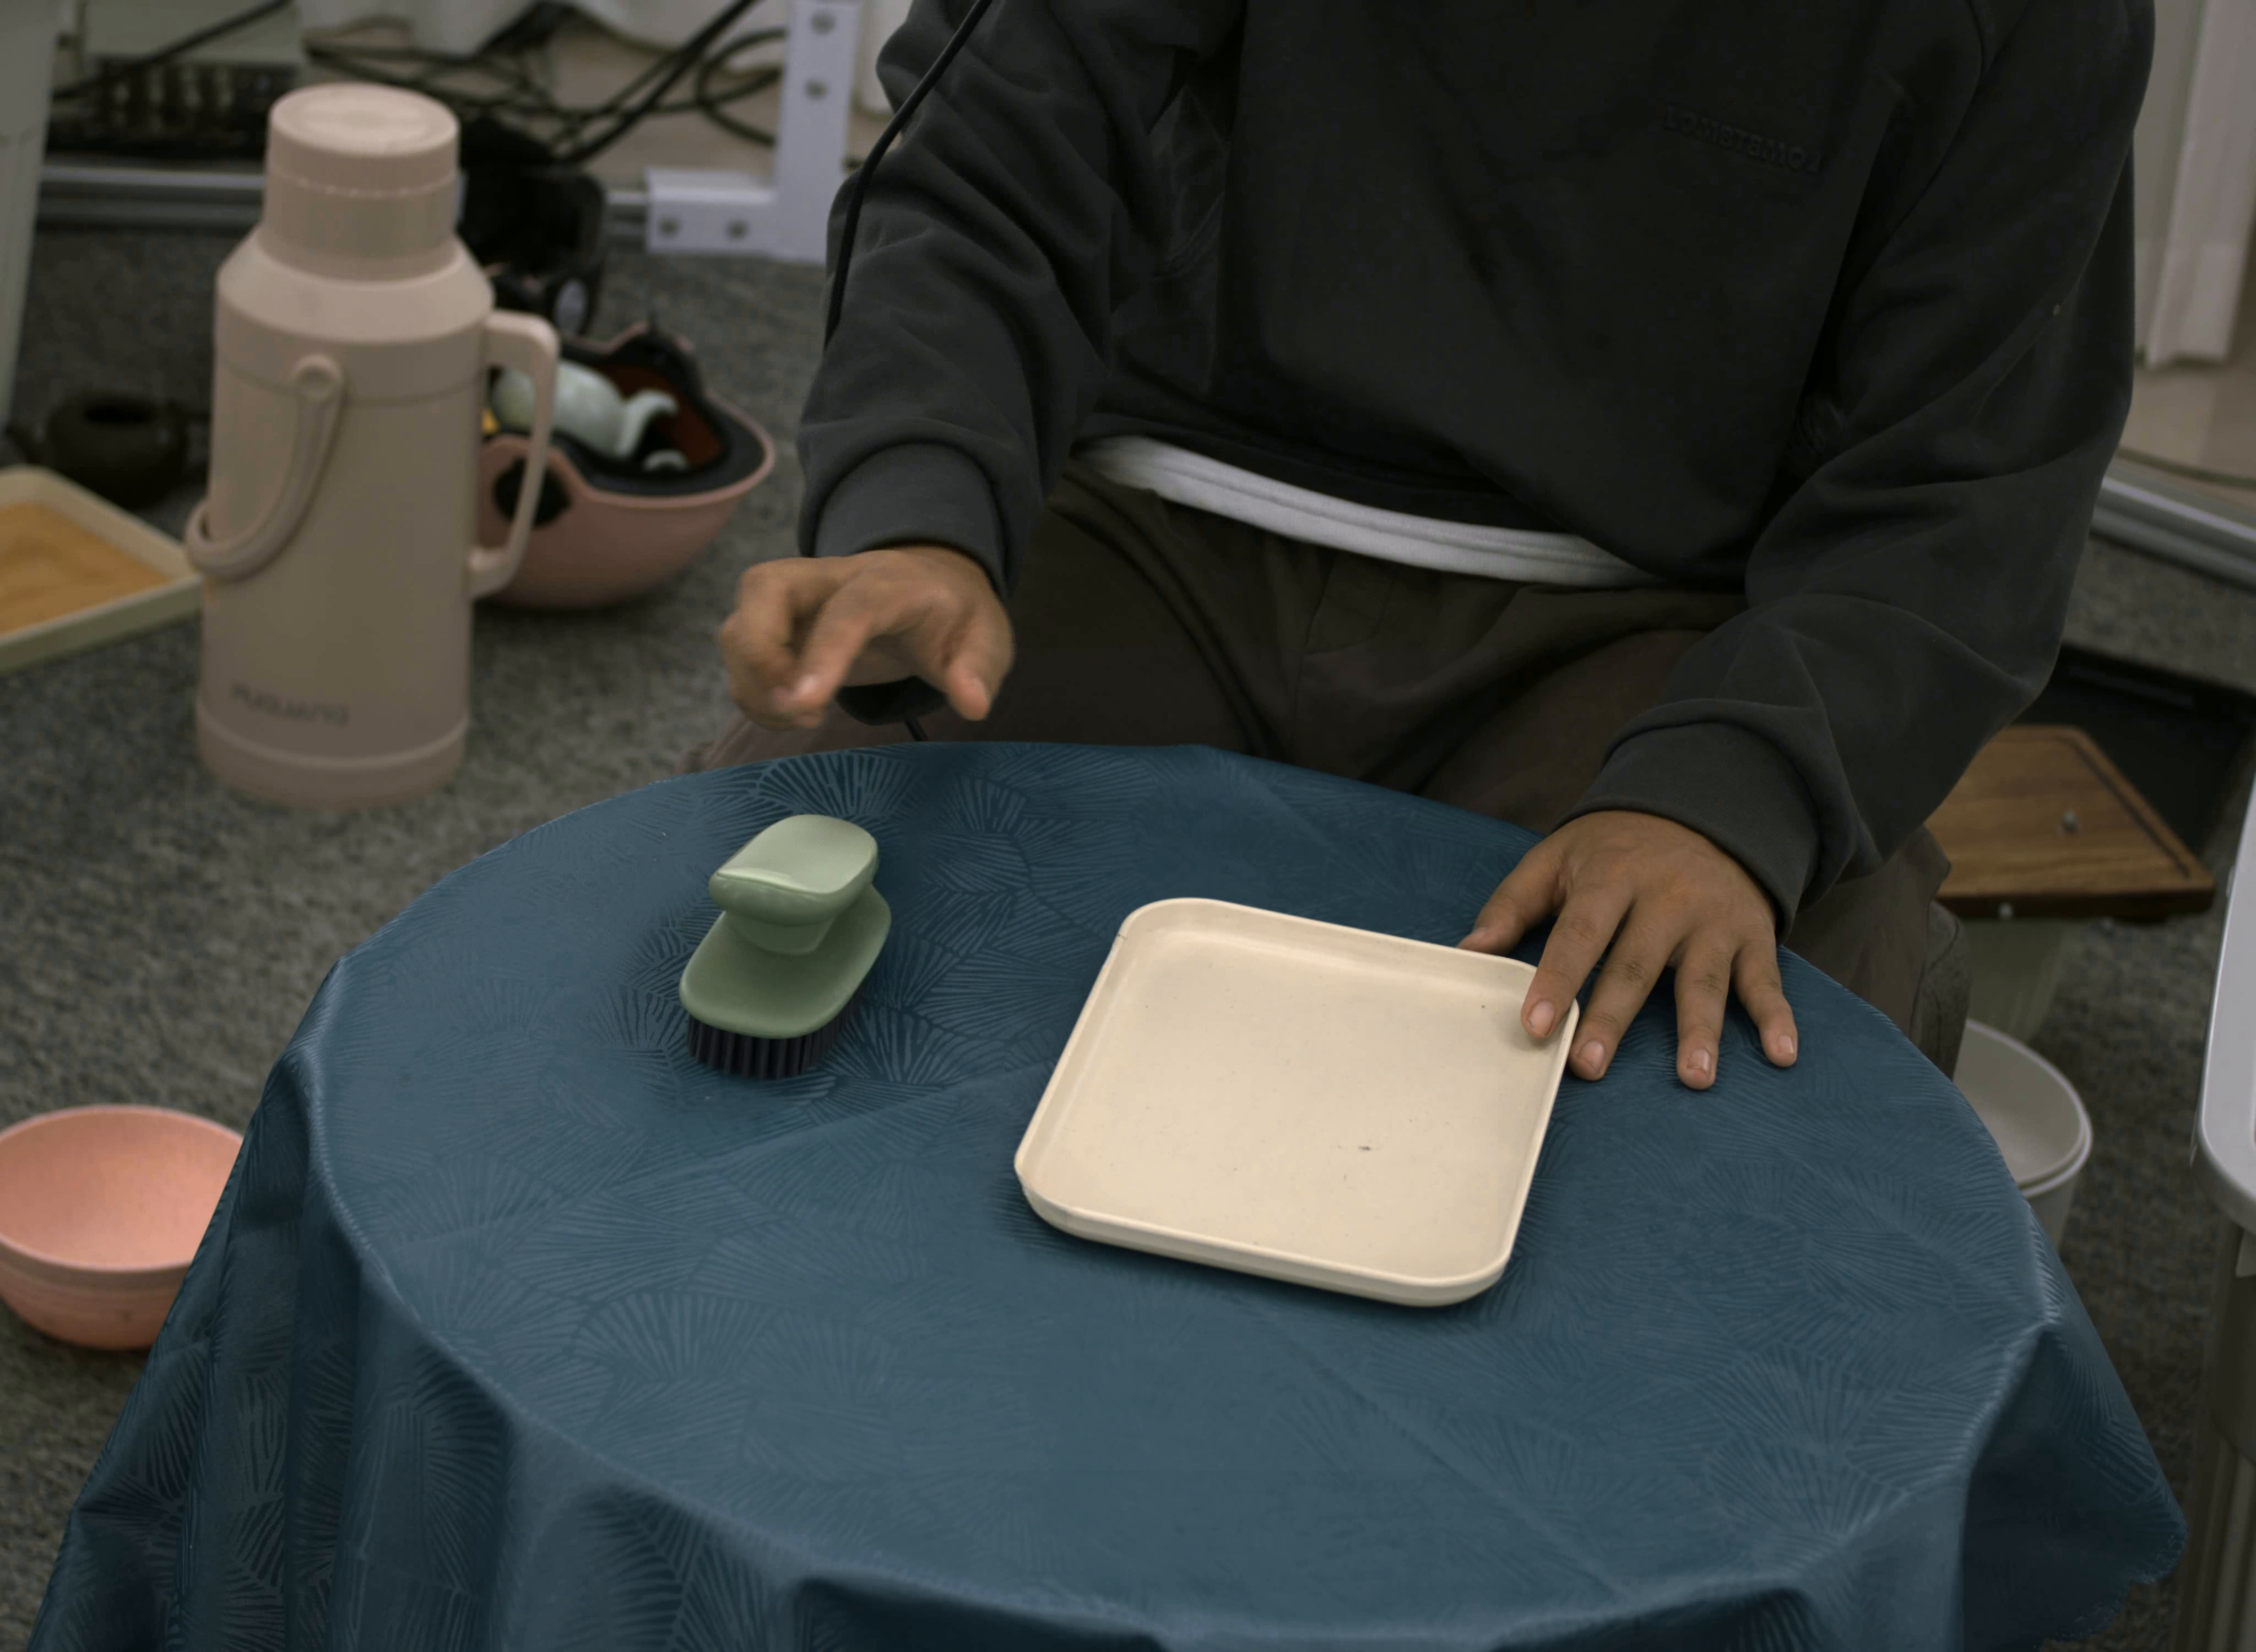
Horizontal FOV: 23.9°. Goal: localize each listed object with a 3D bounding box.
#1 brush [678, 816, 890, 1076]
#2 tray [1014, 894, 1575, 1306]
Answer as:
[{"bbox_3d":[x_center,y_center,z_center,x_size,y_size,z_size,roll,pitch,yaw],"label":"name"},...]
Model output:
[{"bbox_3d":[-0.121,0.041,1.883,0.059,0.076,0.123,13,13,8],"label":"brush"},{"bbox_3d":[0.061,0.094,1.858,0.171,0.017,0.240,12,27,8],"label":"tray"}]
